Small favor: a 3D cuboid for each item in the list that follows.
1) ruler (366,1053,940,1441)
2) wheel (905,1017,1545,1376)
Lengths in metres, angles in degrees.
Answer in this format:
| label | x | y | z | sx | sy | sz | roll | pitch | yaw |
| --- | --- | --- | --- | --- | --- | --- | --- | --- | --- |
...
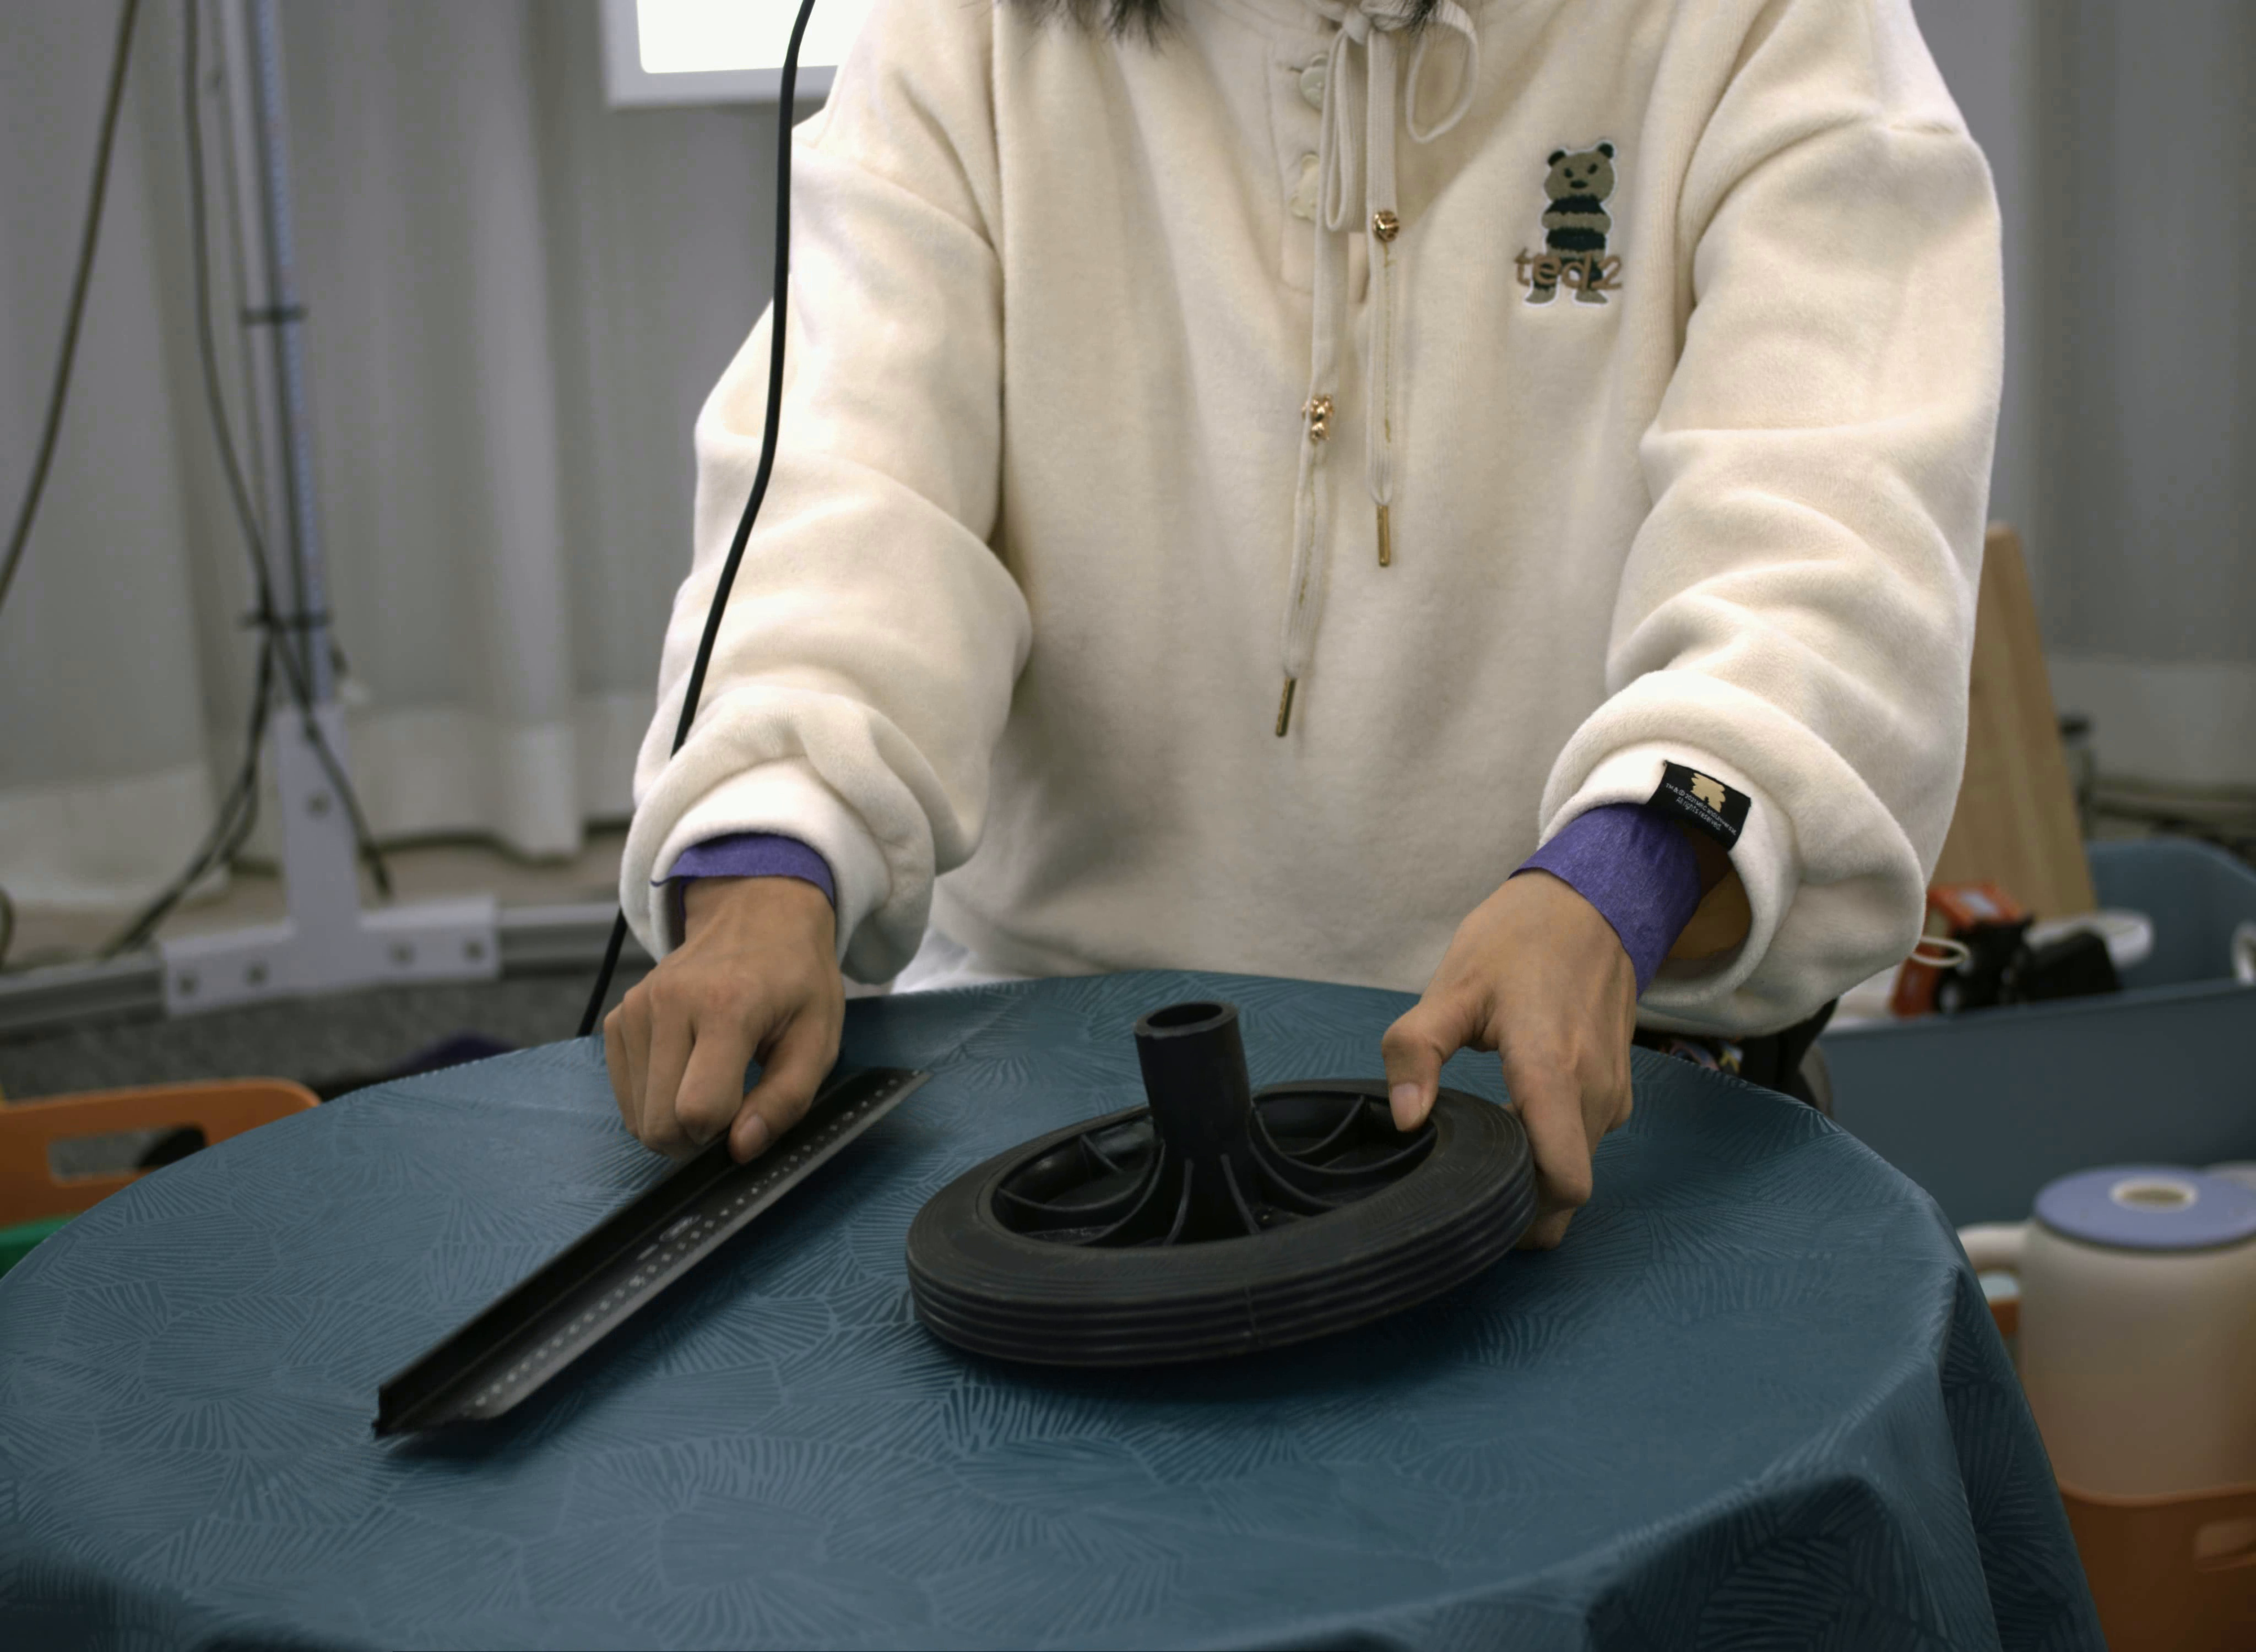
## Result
| label | x | y | z | sx | sy | sz | roll | pitch | yaw |
| --- | --- | --- | --- | --- | --- | --- | --- | --- | --- |
| ruler | -0.138 | 0.121 | 1.650 | 0.039 | 0.017 | 0.313 | -3 | 14 | 24 |
| wheel | 0.025 | 0.098 | 1.606 | 0.190 | 0.079 | 0.188 | 0 | 17 | 33 |
